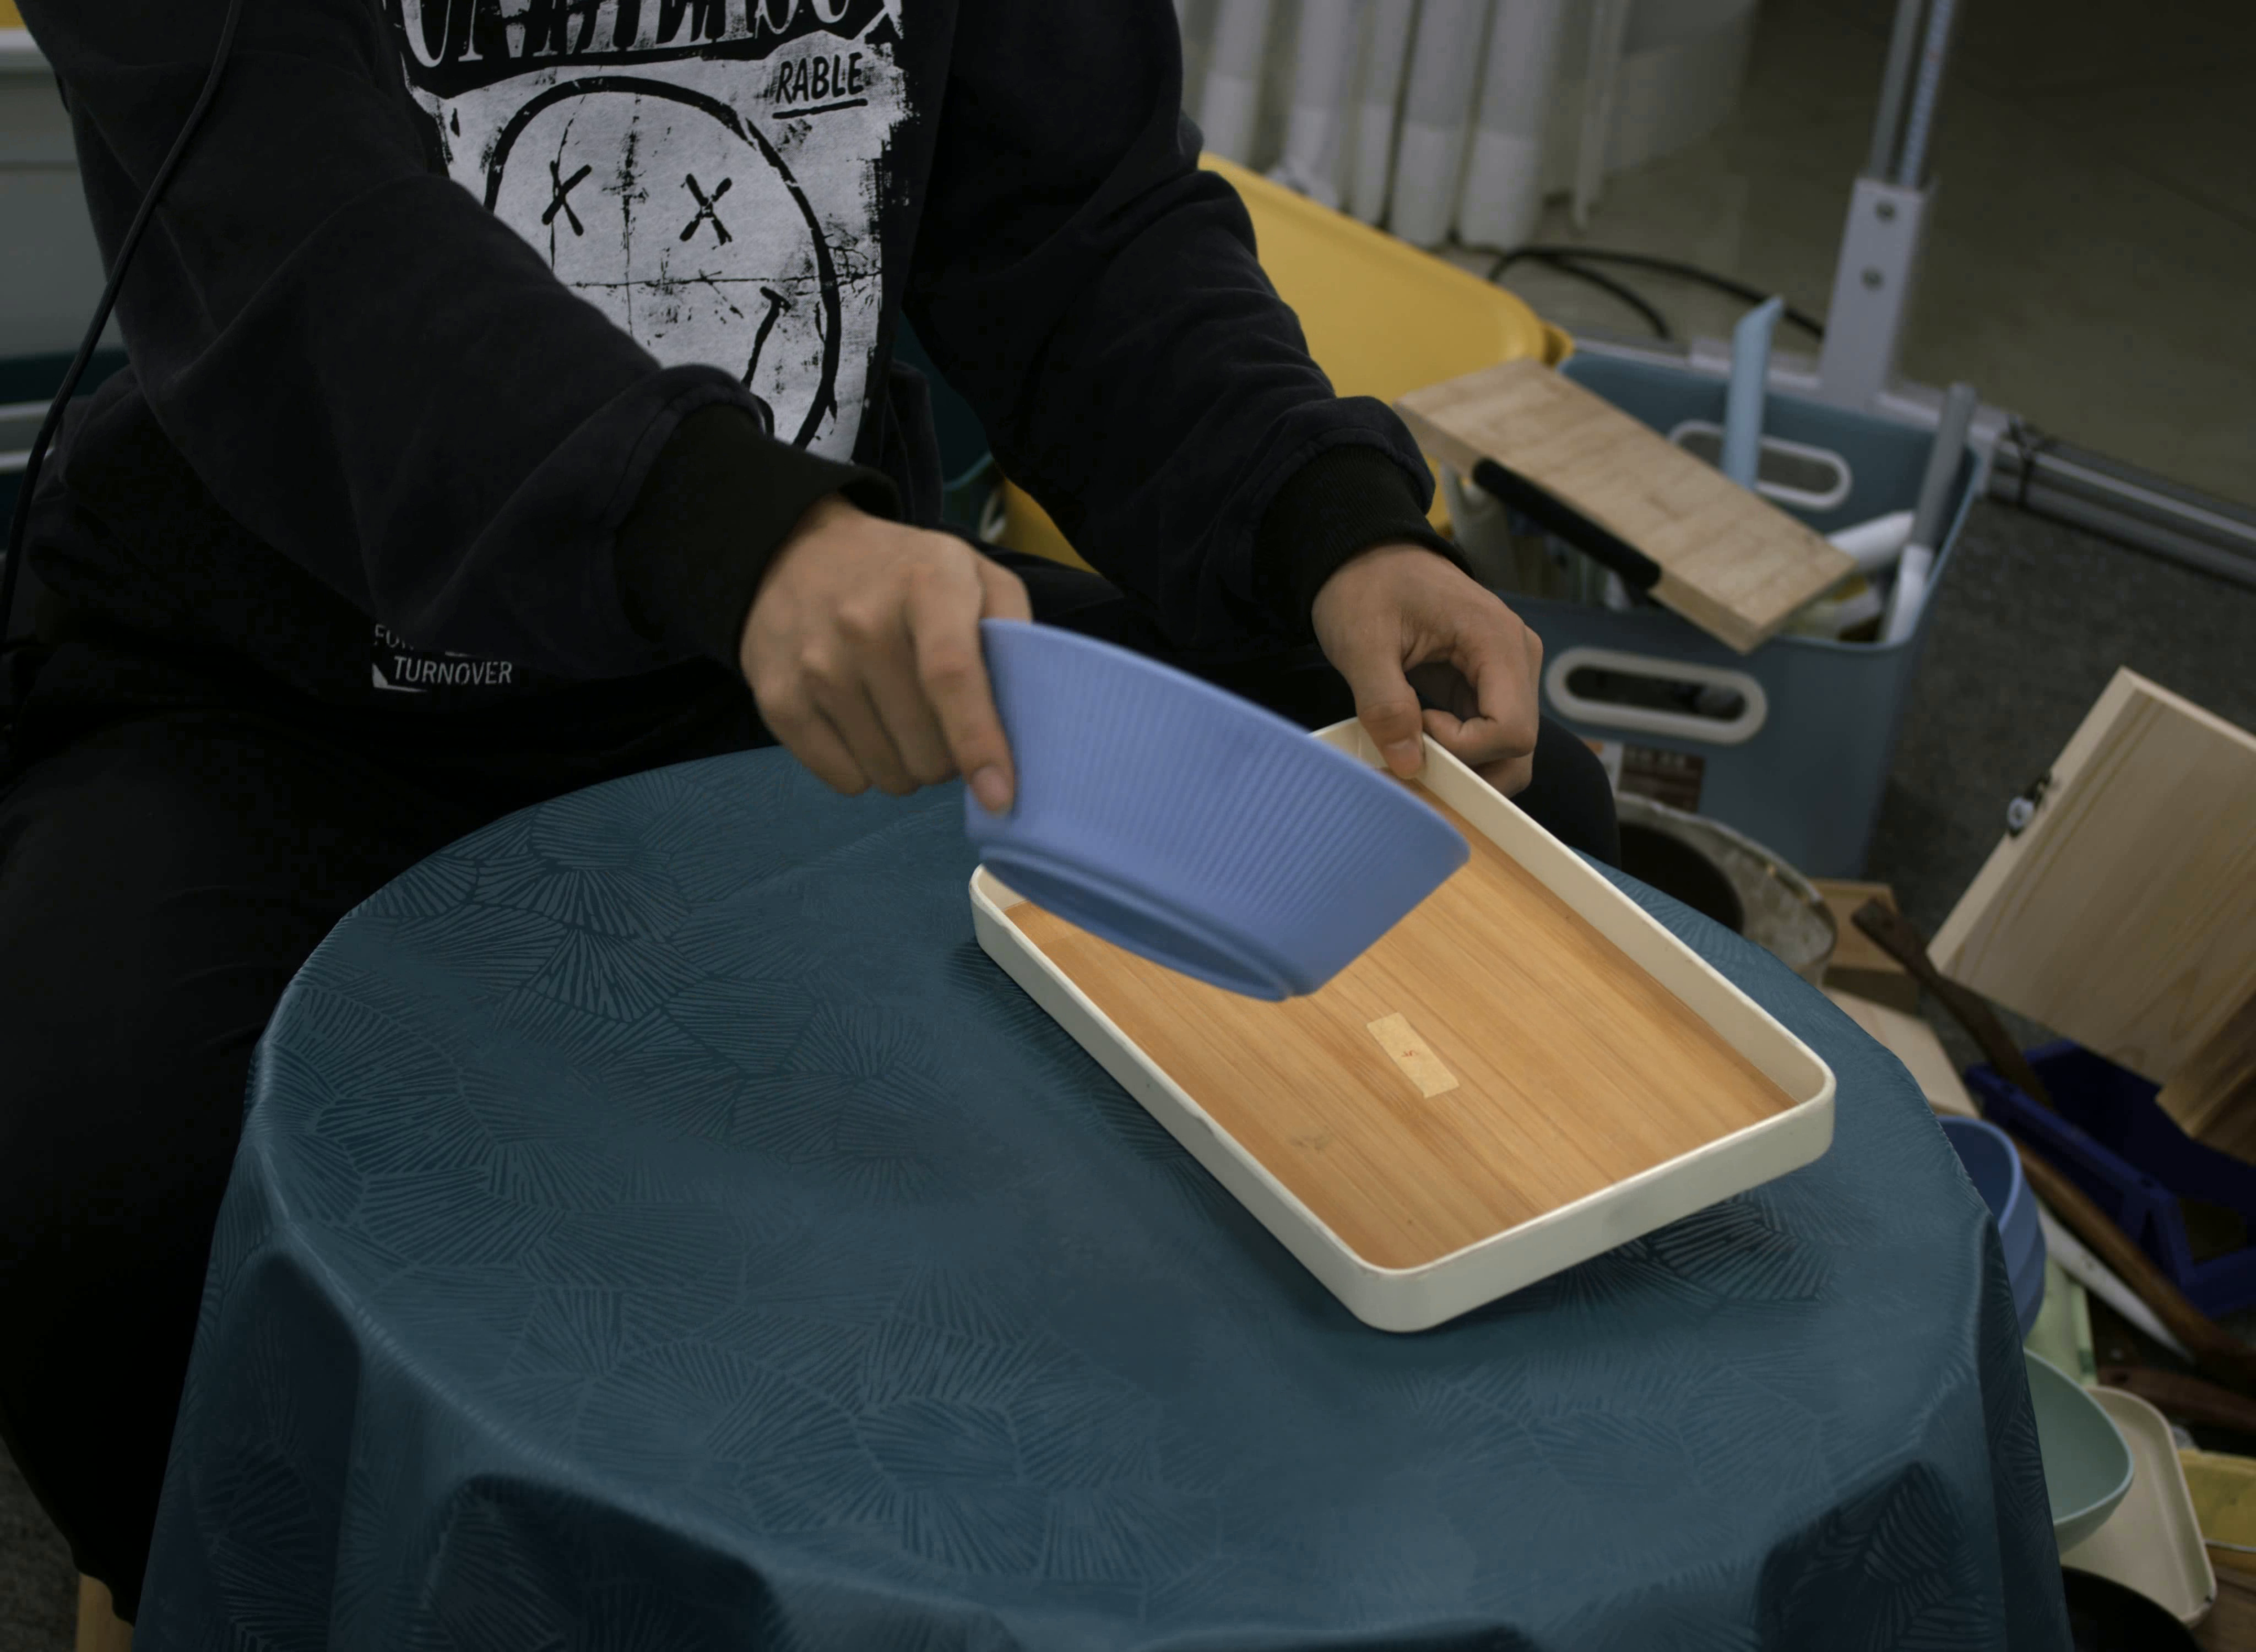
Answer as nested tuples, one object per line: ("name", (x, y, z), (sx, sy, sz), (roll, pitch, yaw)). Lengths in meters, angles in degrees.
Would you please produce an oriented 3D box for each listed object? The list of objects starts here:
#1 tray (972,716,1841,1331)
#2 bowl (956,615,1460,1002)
("tray", (0.092, 0.063, 1.868), (0.191, 0.027, 0.303), (-21, 36, -21))
("bowl", (0.012, 0.002, 1.685), (0.176, 0.070, 0.175), (25, -8, 3))
